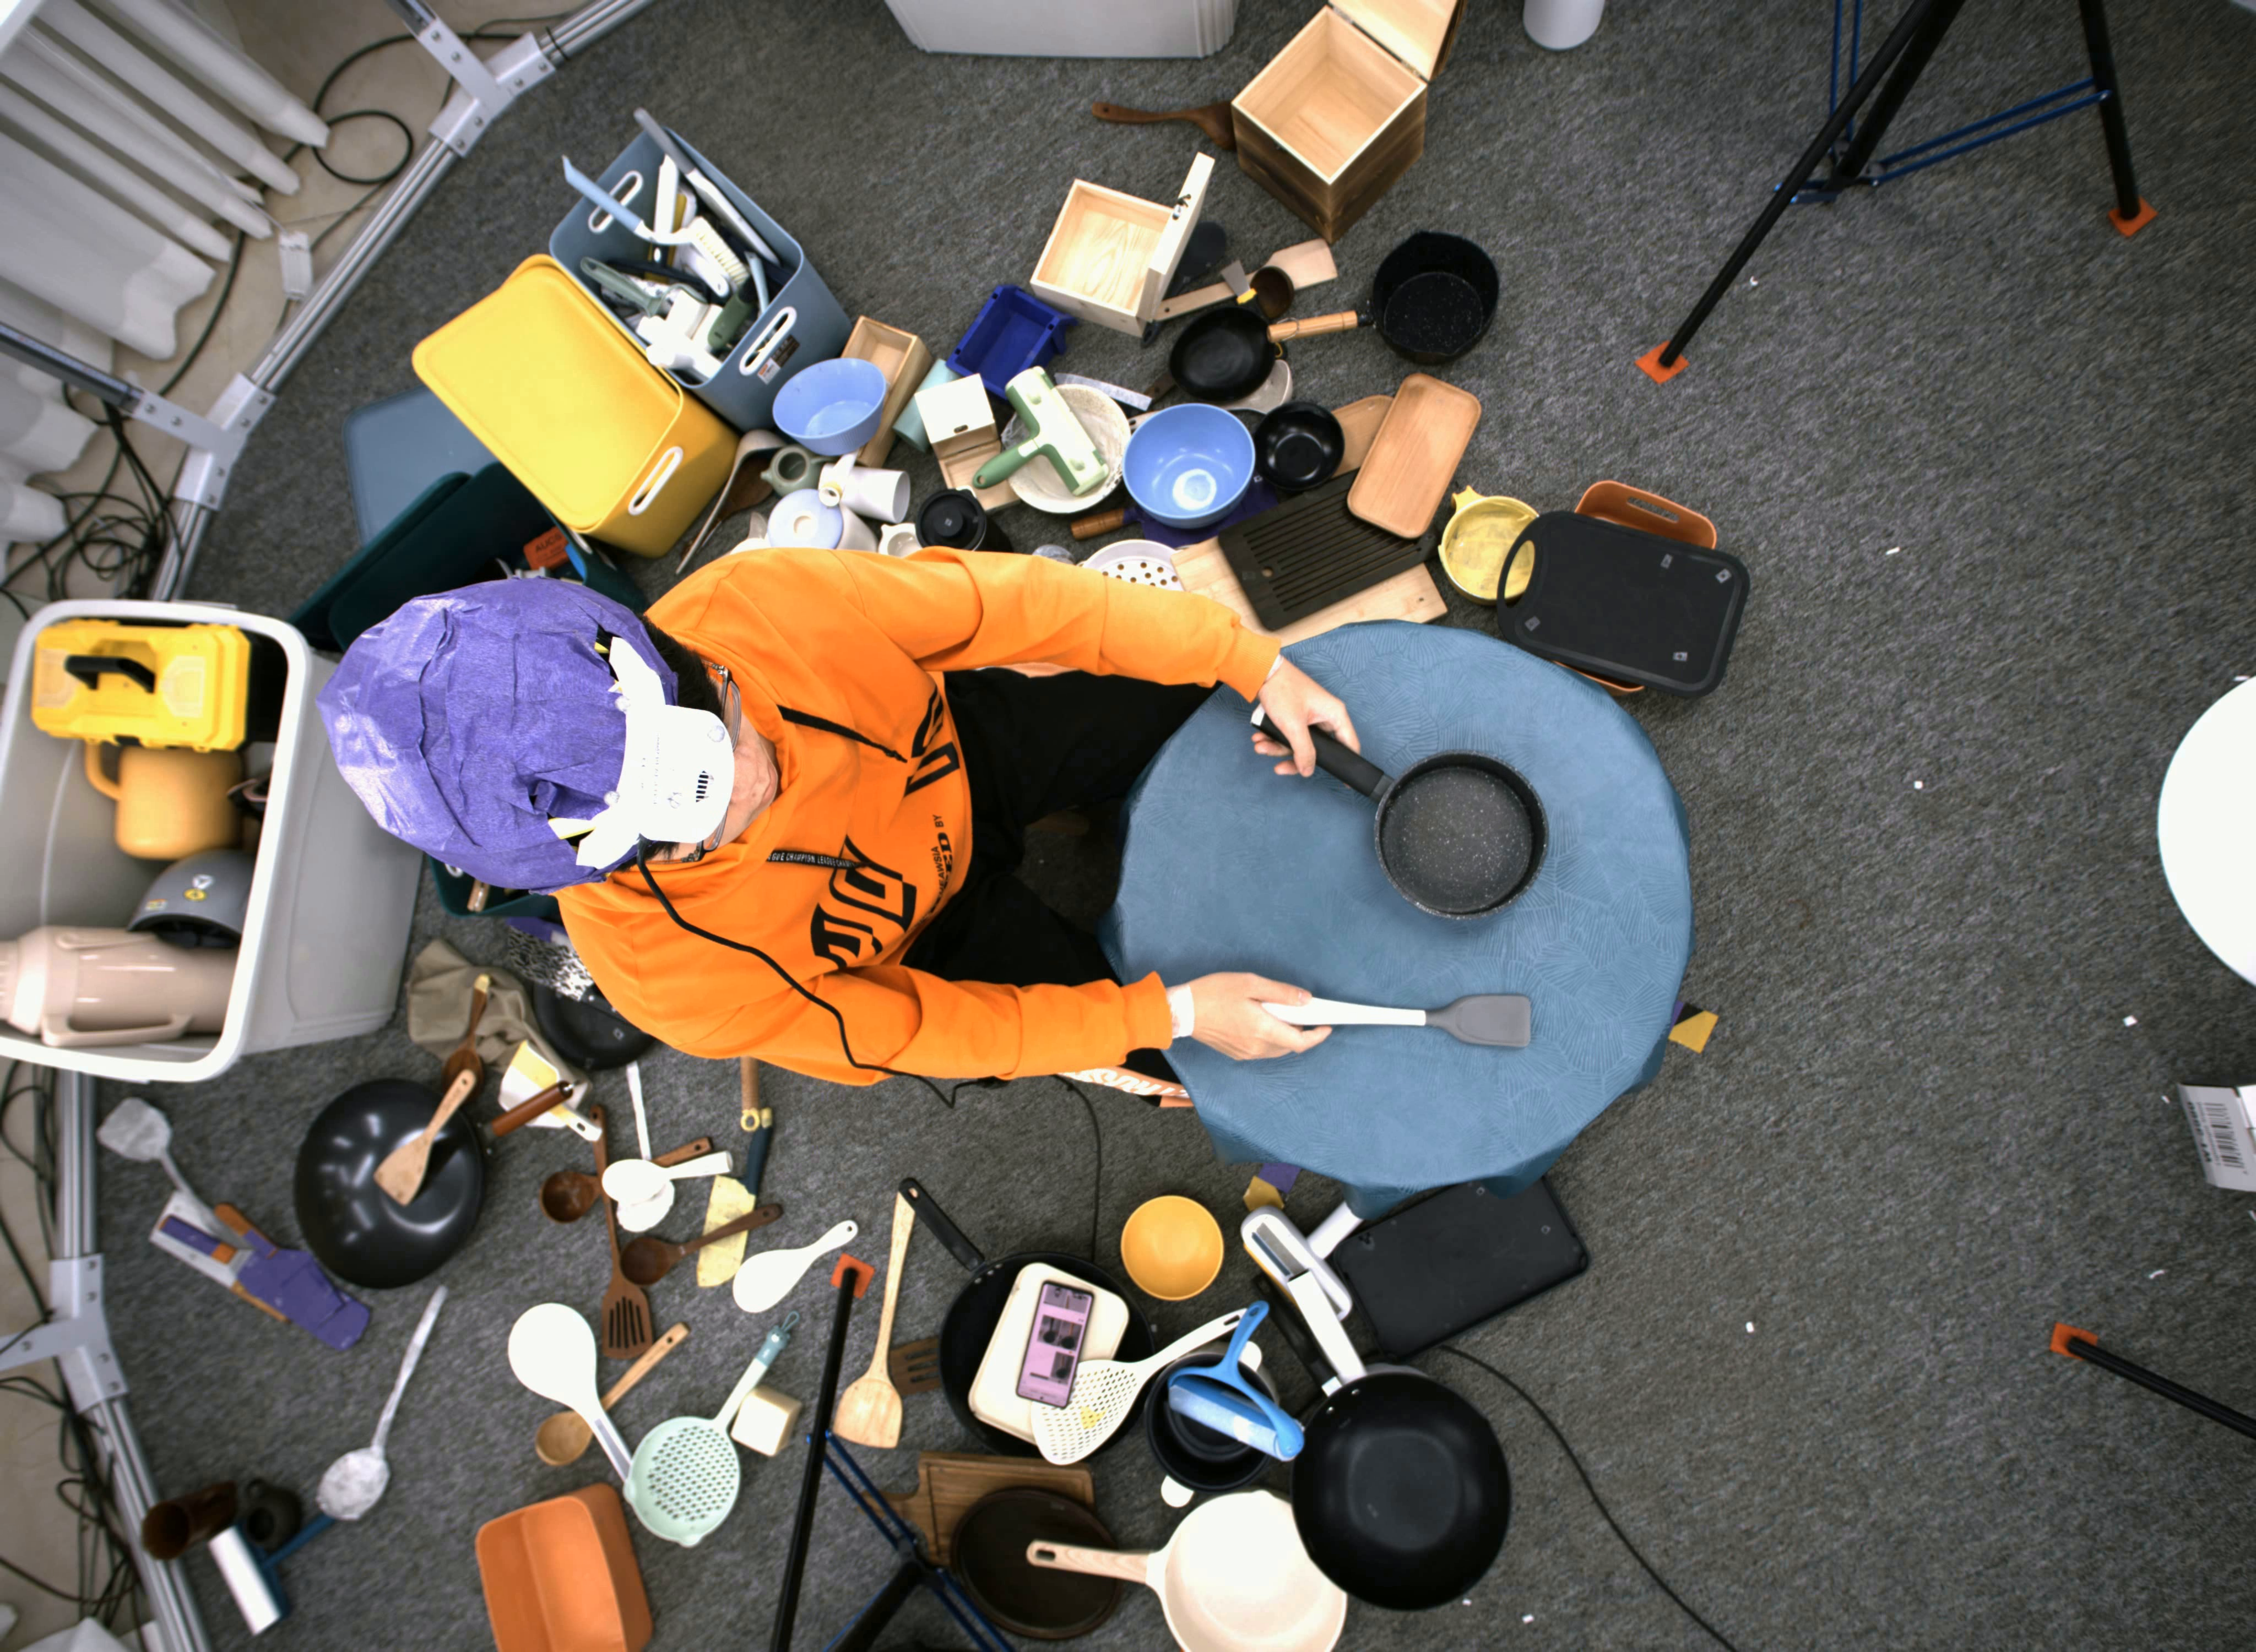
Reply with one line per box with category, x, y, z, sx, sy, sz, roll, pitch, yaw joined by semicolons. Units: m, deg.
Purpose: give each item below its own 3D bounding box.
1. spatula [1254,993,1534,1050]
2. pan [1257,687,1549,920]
spatula;0.274;0.195;1.429;0.288;0.032;0.058;2;74;3
pan;0.274;-0.035;1.420;0.328;0.086;0.172;35;93;8
